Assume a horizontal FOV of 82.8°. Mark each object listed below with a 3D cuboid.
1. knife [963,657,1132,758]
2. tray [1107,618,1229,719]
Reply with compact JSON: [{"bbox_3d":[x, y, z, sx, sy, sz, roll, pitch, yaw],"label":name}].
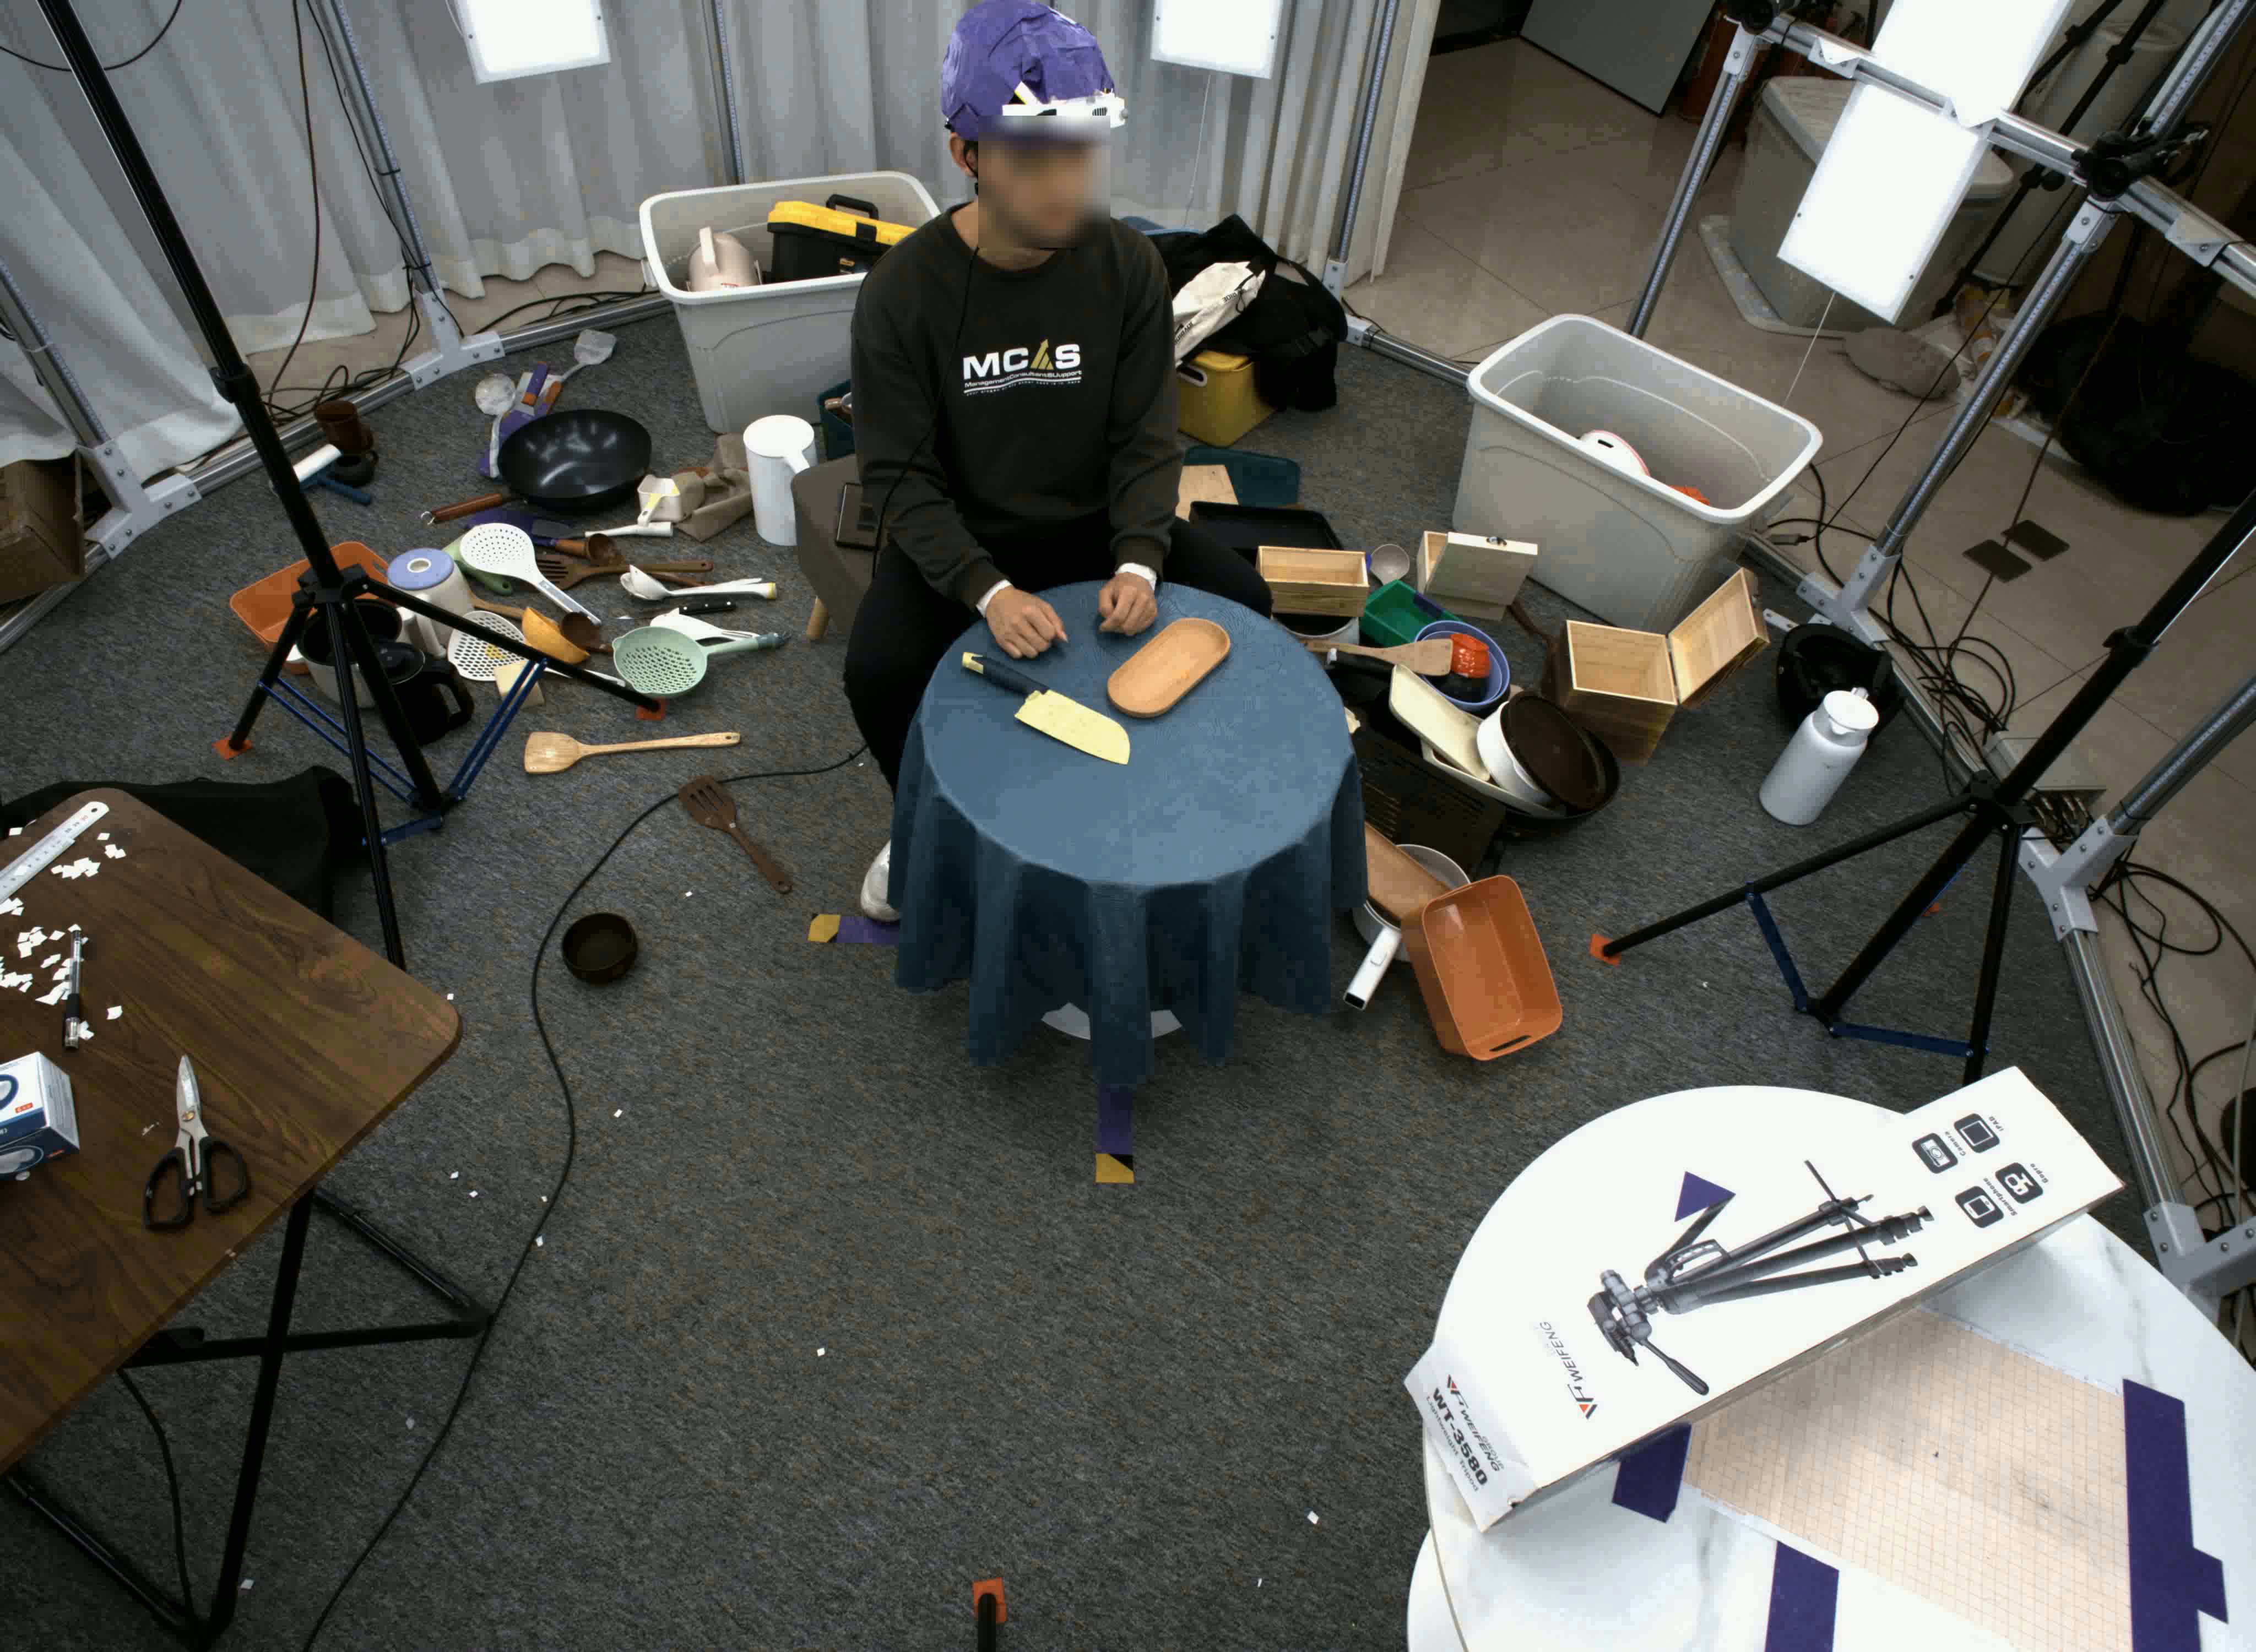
[{"bbox_3d":[-0.118,-0.165,1.793,0.292,0.026,0.082,28,51,18],"label":"knife"},{"bbox_3d":[0.060,-0.229,1.860,0.103,0.020,0.234,30,55,22],"label":"tray"}]
